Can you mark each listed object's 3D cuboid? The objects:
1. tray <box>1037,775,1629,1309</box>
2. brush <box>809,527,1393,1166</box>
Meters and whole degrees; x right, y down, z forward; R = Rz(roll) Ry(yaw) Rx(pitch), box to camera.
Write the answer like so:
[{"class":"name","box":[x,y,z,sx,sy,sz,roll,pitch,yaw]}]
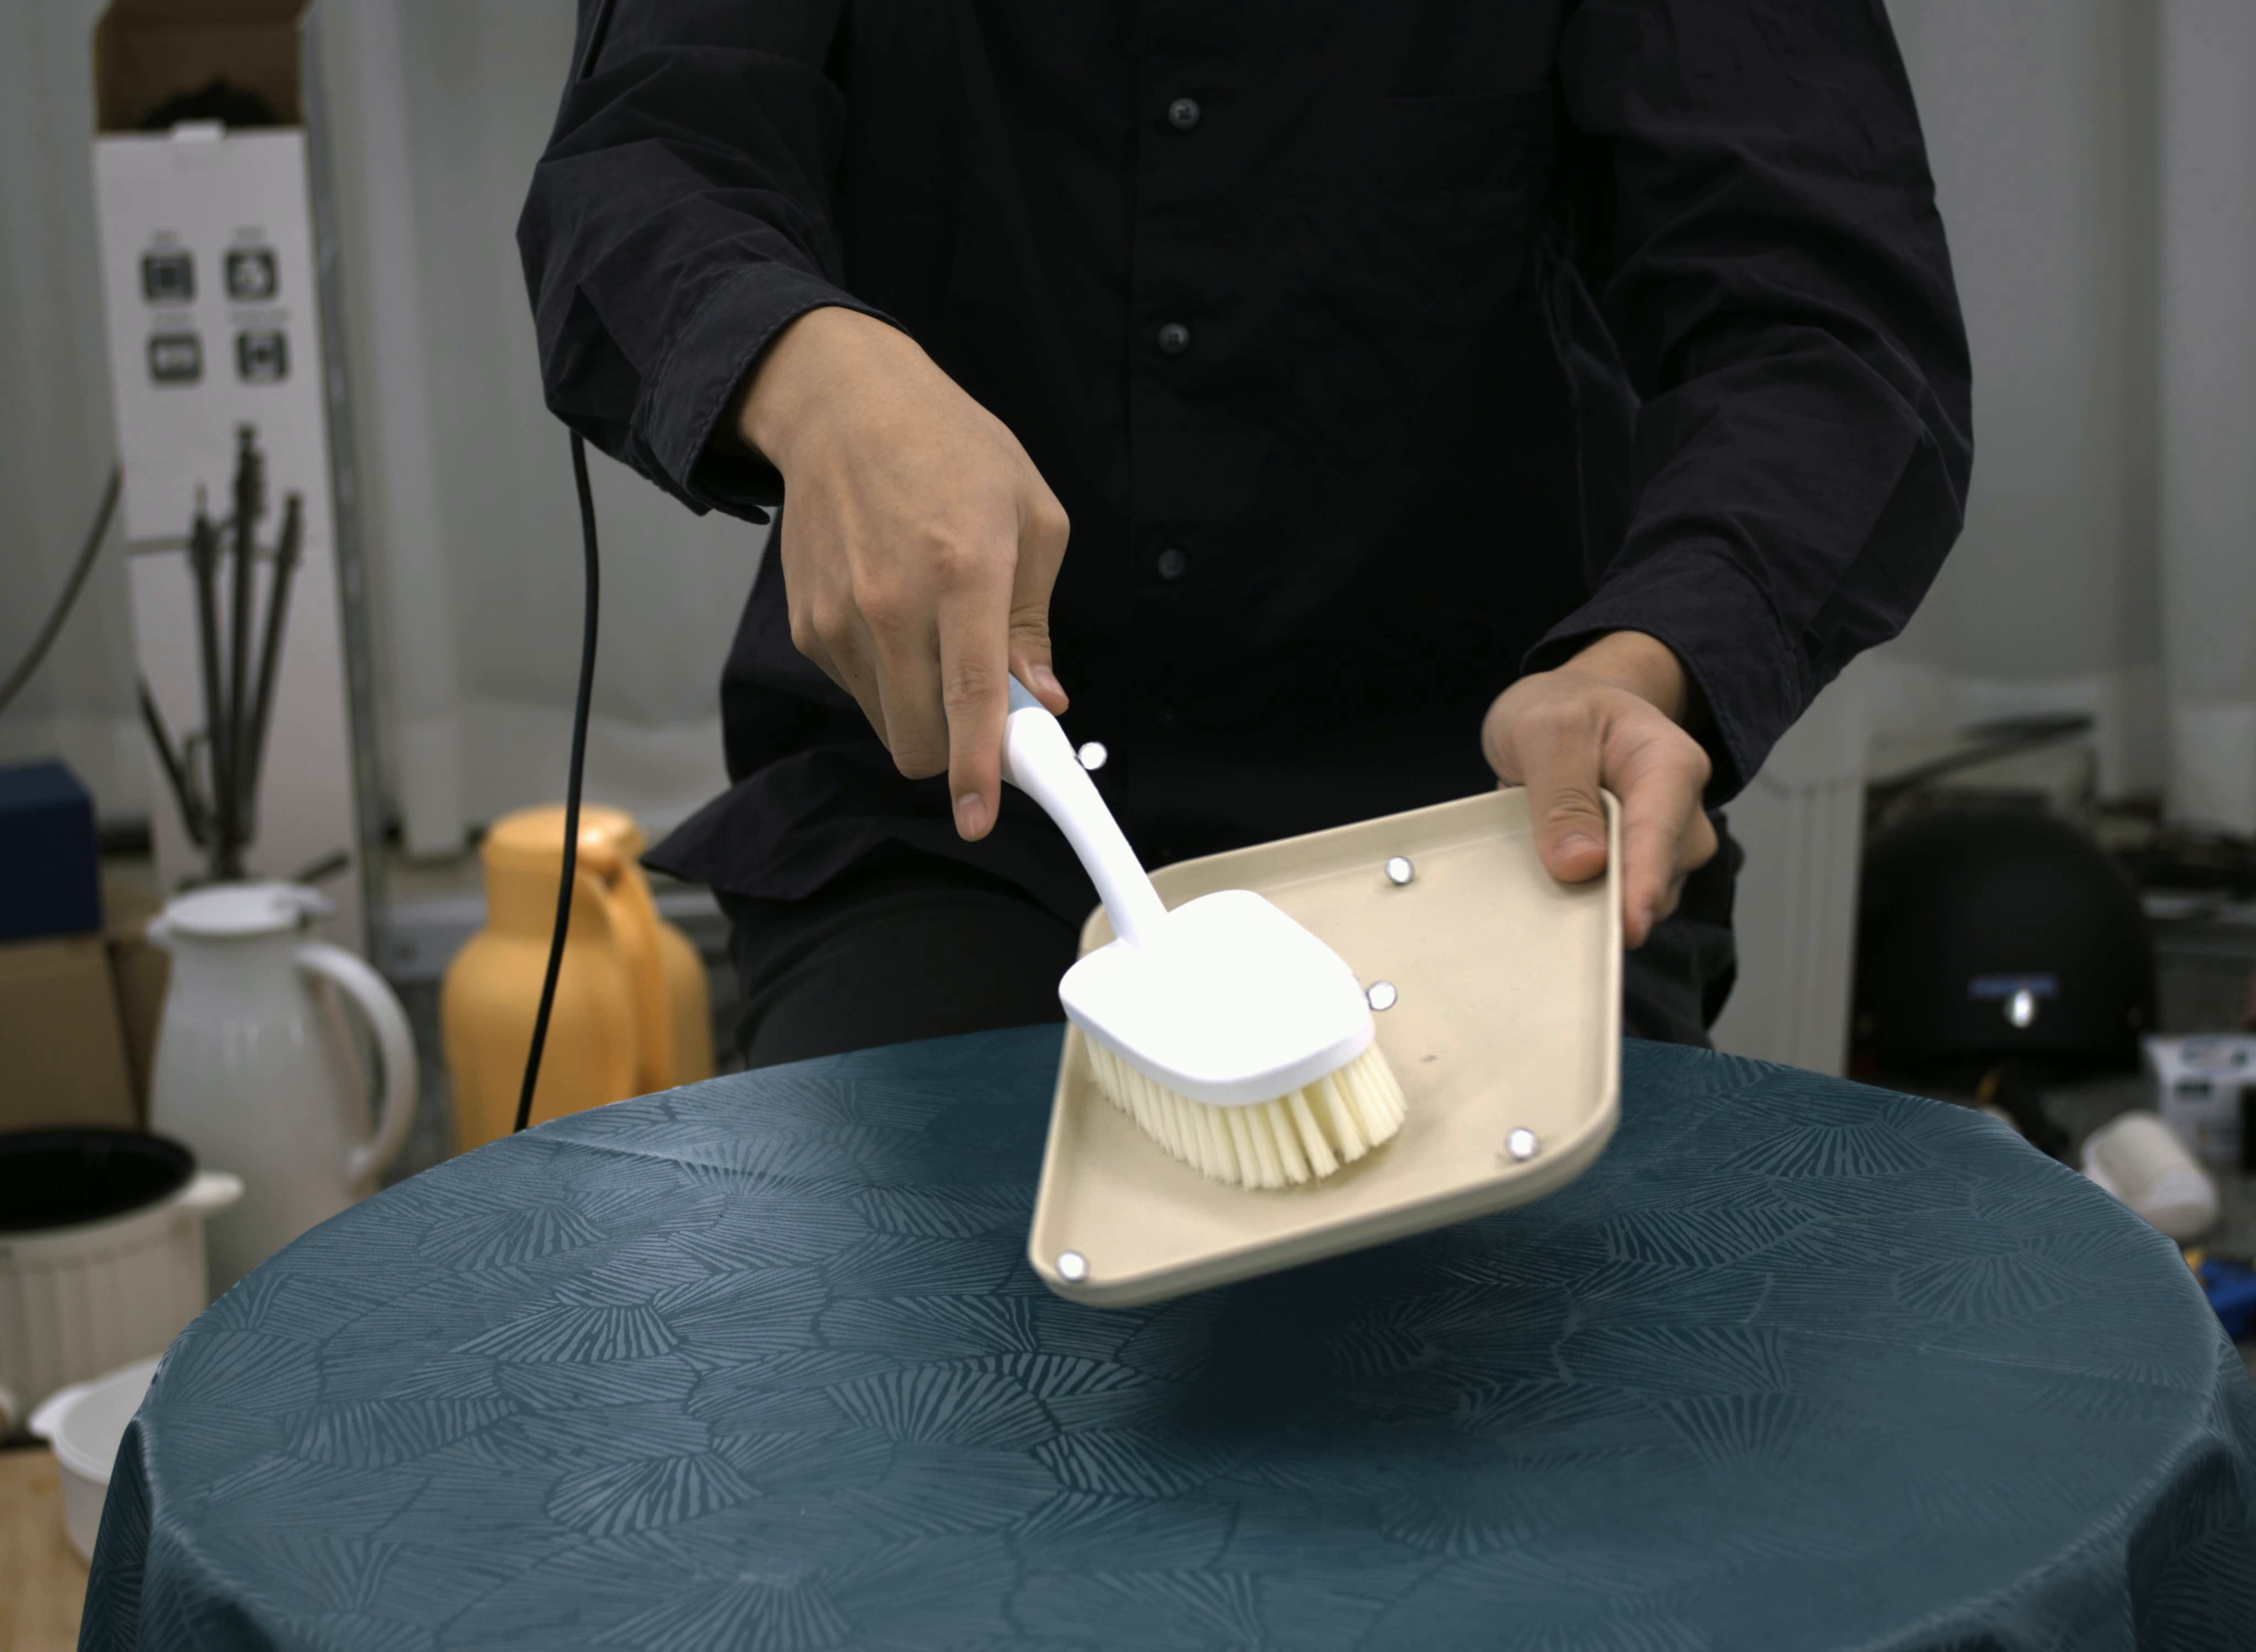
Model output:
[{"class":"tray","box":[0.063,0.061,1.576,0.171,0.017,0.242,-14,25,12]},{"class":"brush","box":[-0.010,0.012,1.642,0.082,0.084,0.329,9,23,-34]}]
